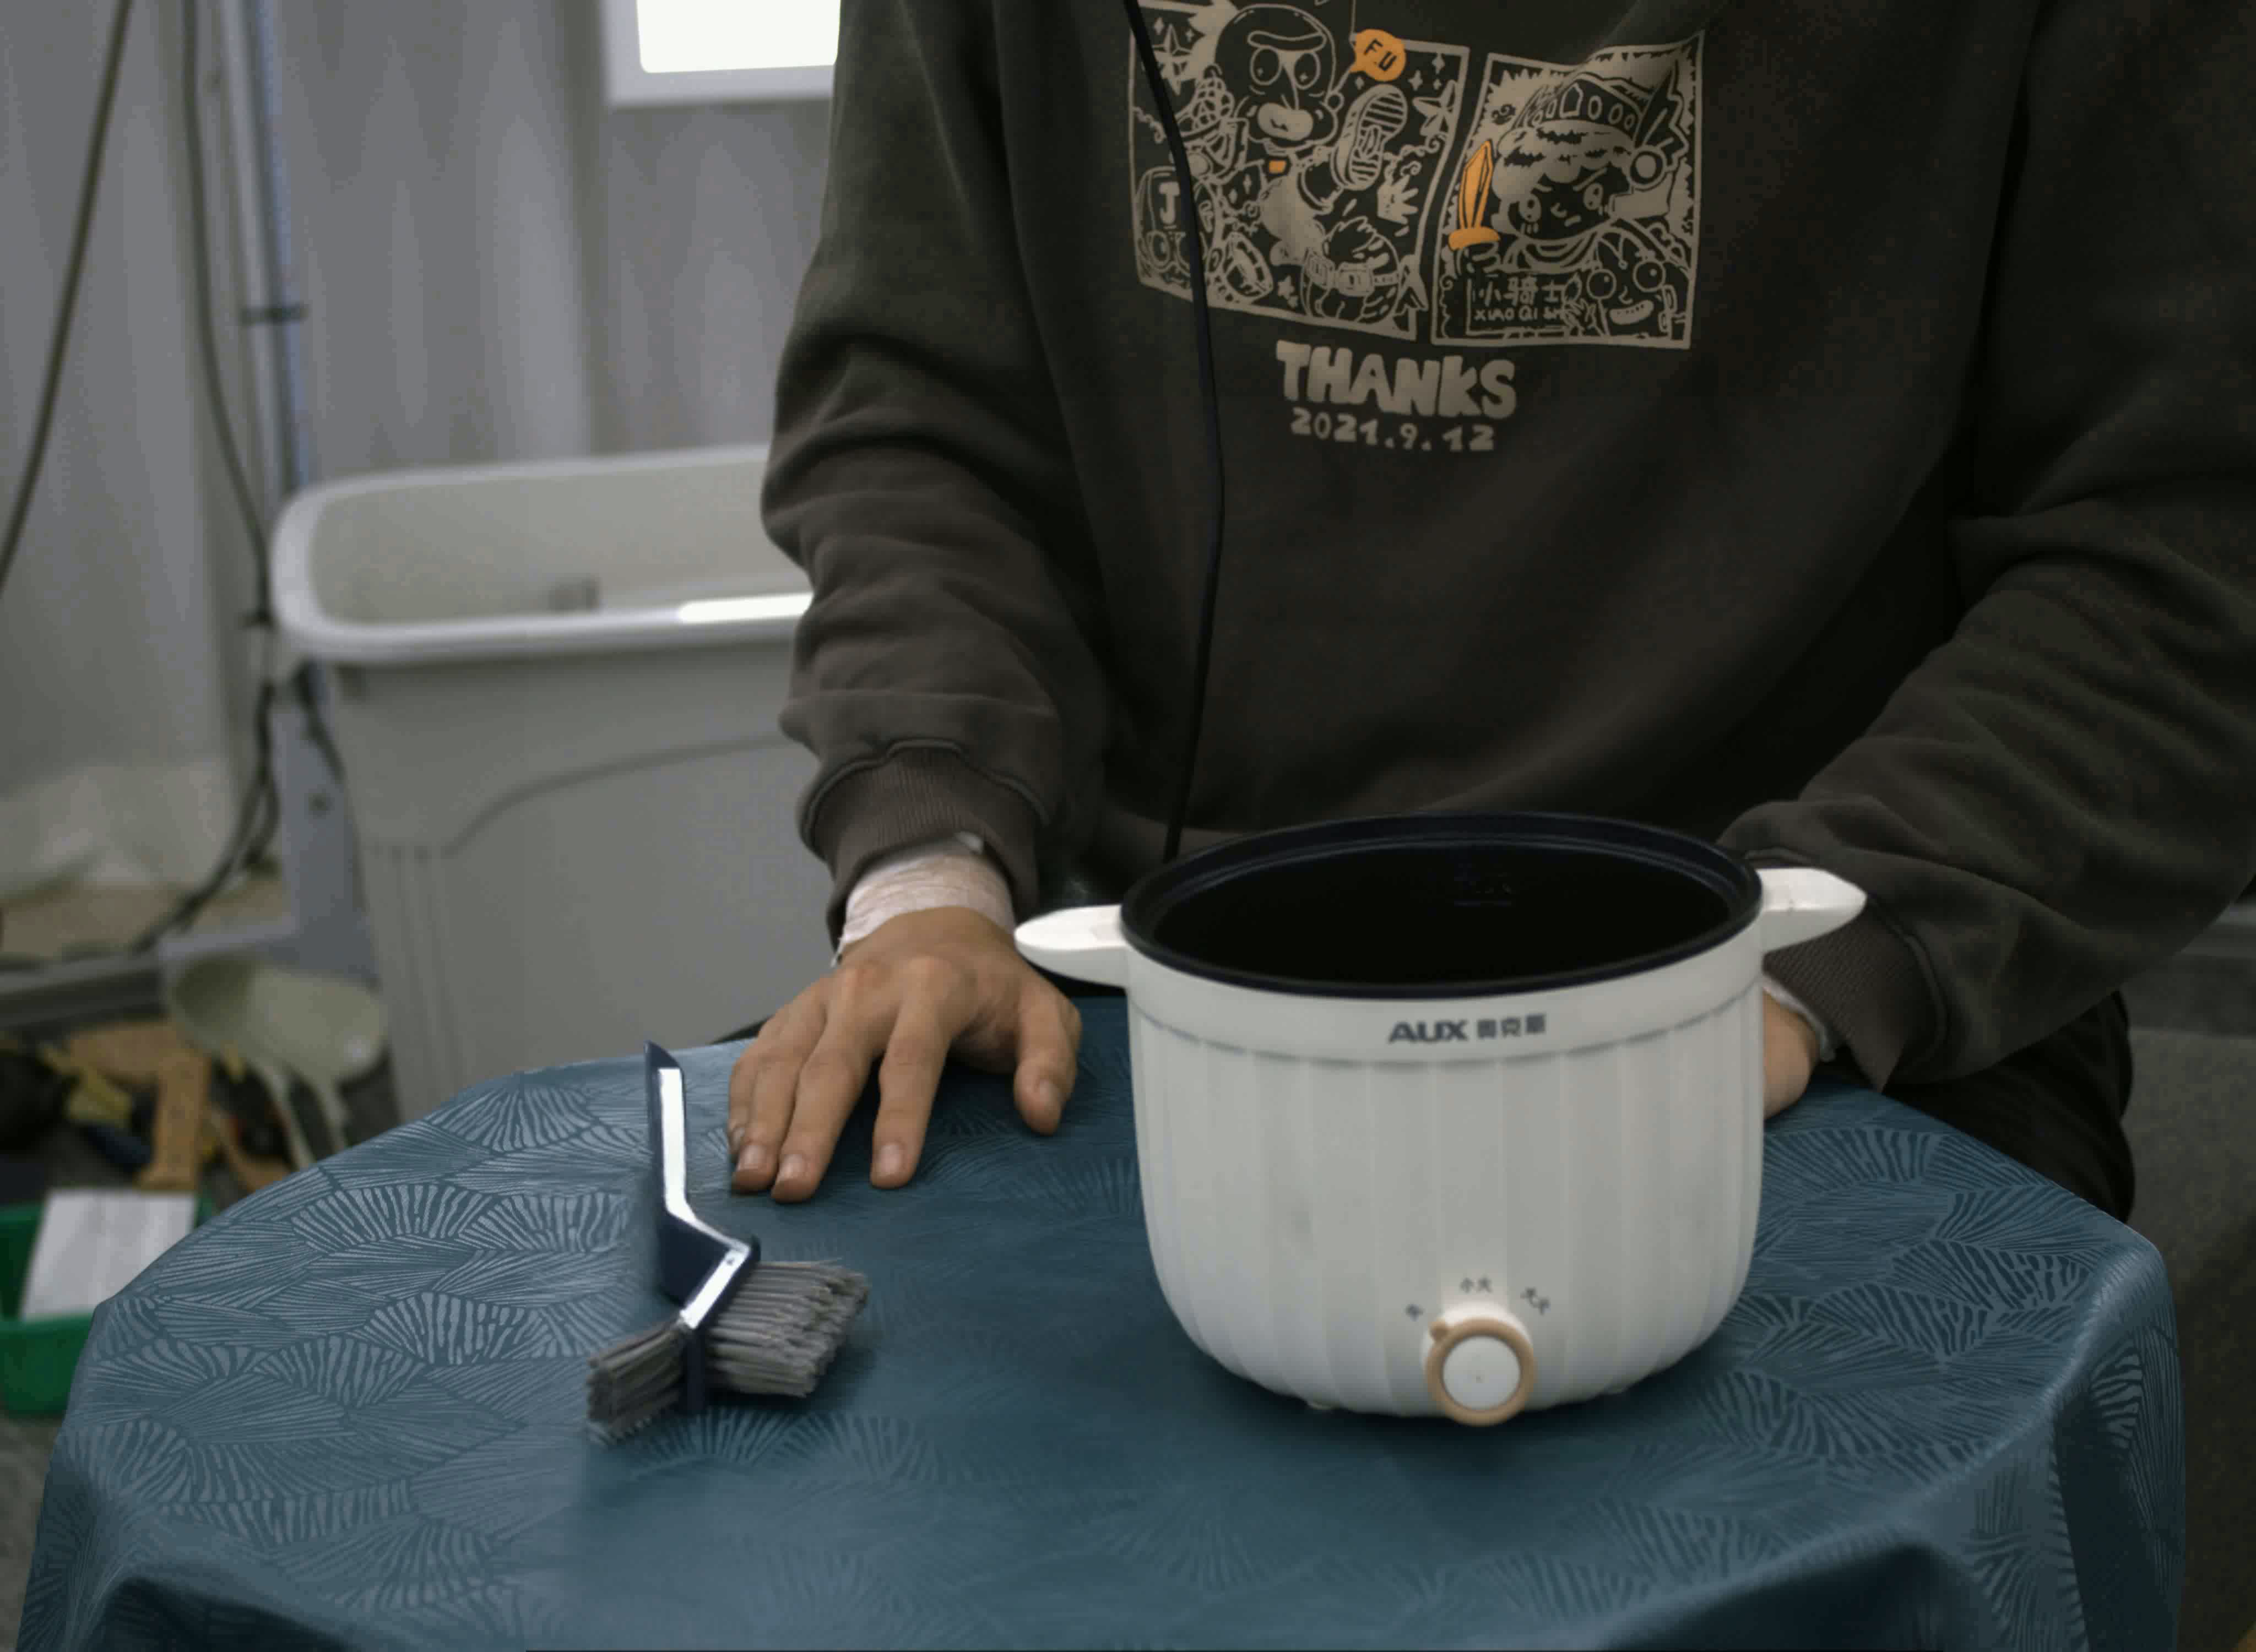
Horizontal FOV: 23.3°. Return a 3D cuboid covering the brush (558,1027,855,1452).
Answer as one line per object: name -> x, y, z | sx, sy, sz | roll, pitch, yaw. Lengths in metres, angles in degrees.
brush -> -0.144, 0.122, 1.665 | 0.095, 0.033, 0.275 | -7, 17, -12

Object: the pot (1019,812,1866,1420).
pot -> 0.093, 0.084, 1.550 | 0.239, 0.142, 0.191 | -4, 11, 0
